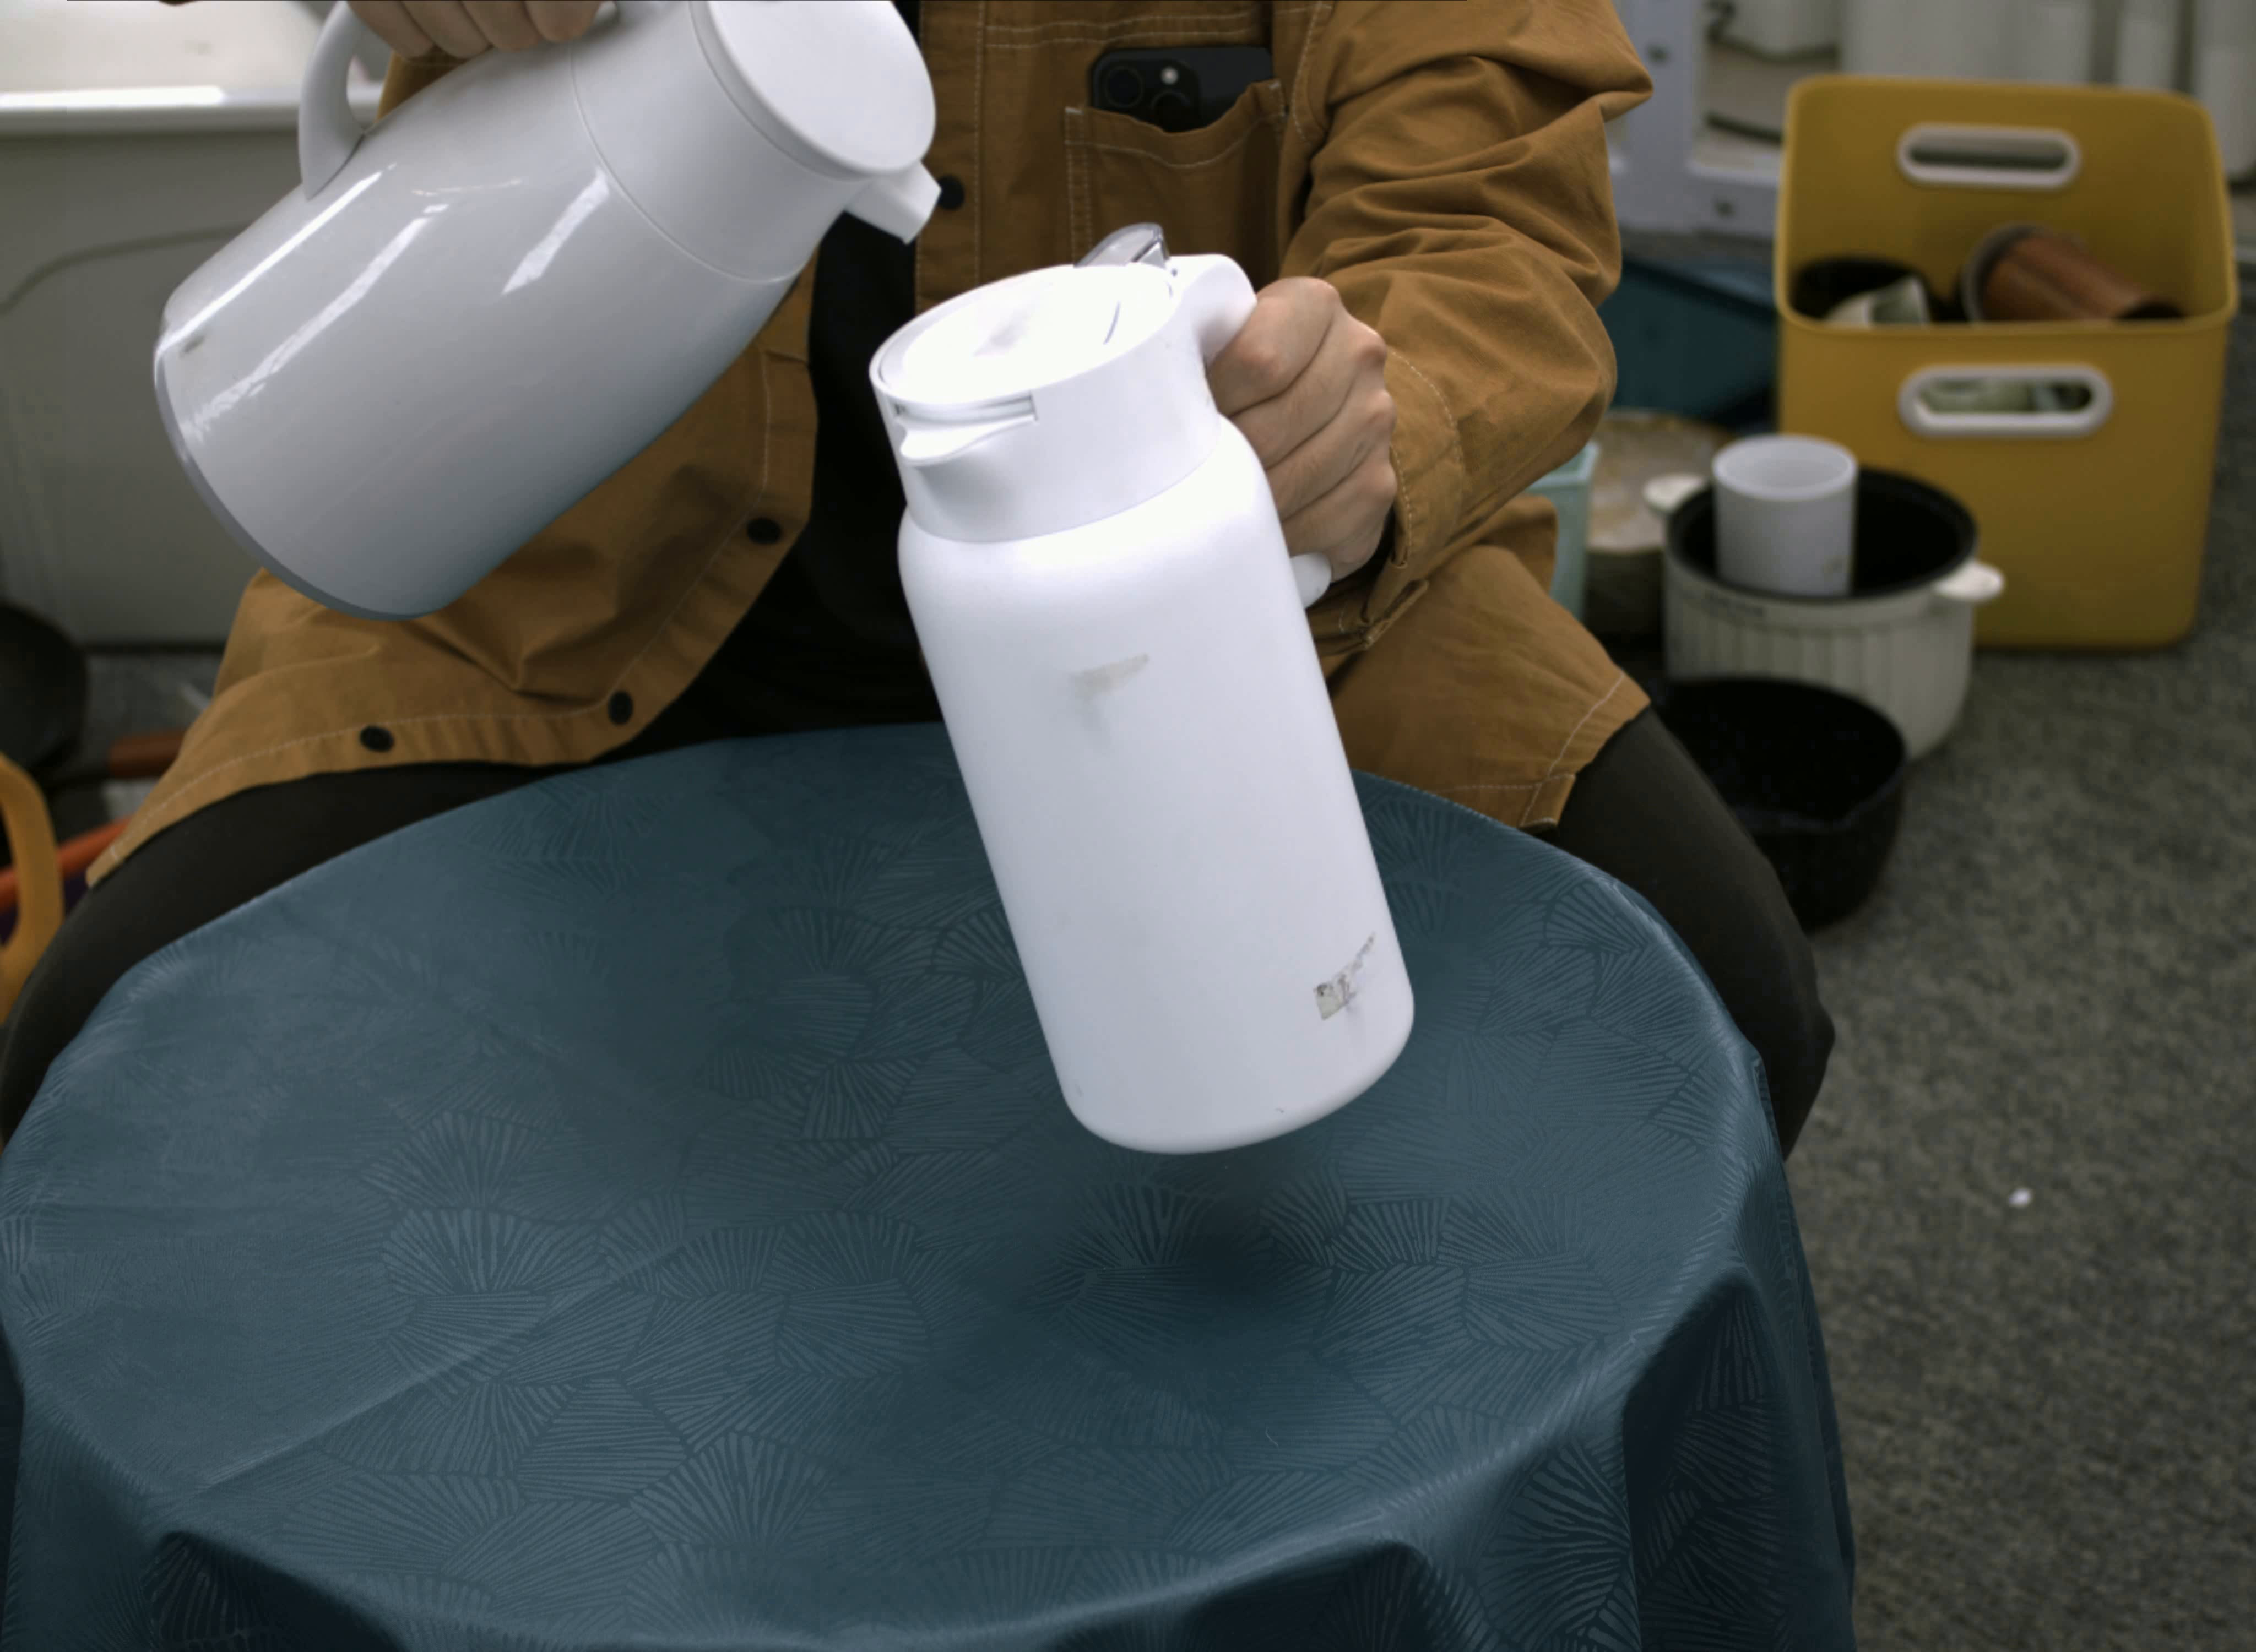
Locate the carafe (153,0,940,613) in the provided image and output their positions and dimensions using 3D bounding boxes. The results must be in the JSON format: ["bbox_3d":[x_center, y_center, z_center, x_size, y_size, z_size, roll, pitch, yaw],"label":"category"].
[{"bbox_3d":[-0.185,-0.194,1.721,0.245,0.167,0.135,-35,23,32],"label":"carafe"}]

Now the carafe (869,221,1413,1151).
[{"bbox_3d":[0.010,-0.047,1.764,0.122,0.267,0.176,-2,27,34],"label":"carafe"}]
